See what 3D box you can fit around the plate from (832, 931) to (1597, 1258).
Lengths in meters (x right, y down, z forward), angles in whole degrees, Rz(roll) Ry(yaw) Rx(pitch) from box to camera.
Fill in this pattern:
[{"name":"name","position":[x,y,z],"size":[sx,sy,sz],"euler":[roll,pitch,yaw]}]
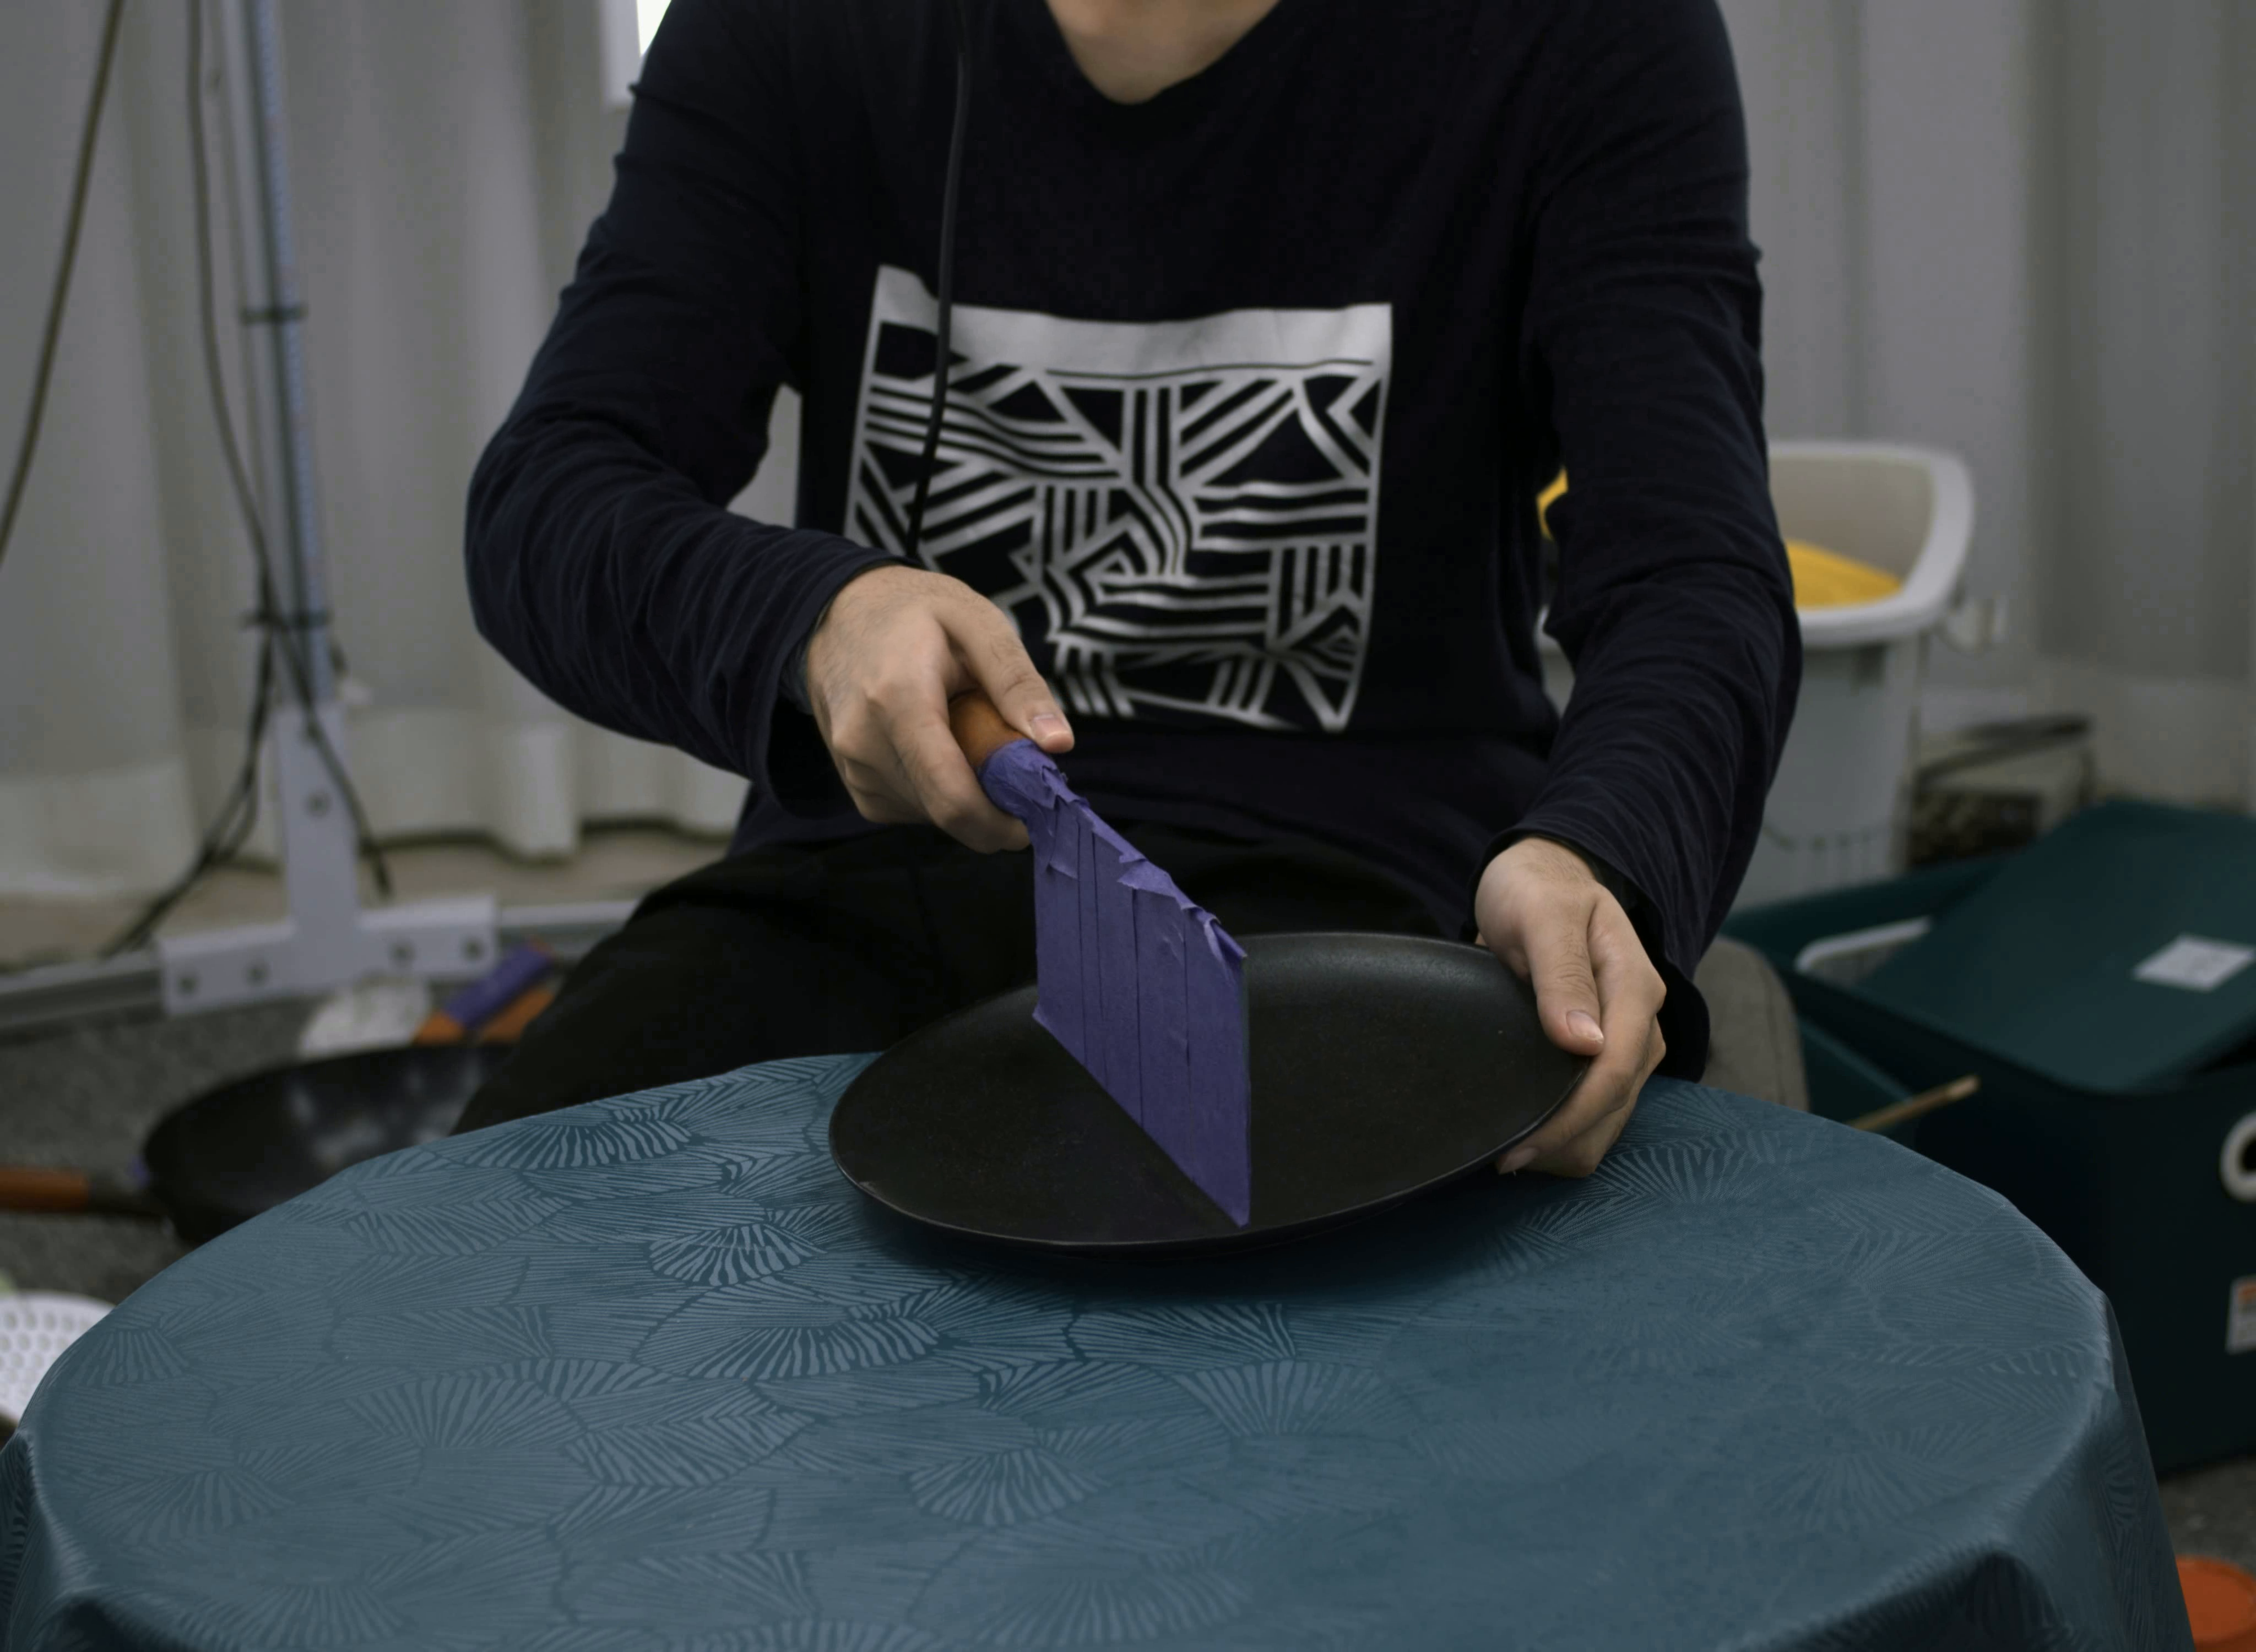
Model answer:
[{"name":"plate","position":[0.027,0.088,1.725],"size":[0.243,0.023,0.246],"euler":[-9,18,3]}]

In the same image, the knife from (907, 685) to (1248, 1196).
[{"name":"knife","position":[-0.018,0.034,1.737],"size":[0.032,0.103,0.318],"euler":[-4,16,-15]}]
